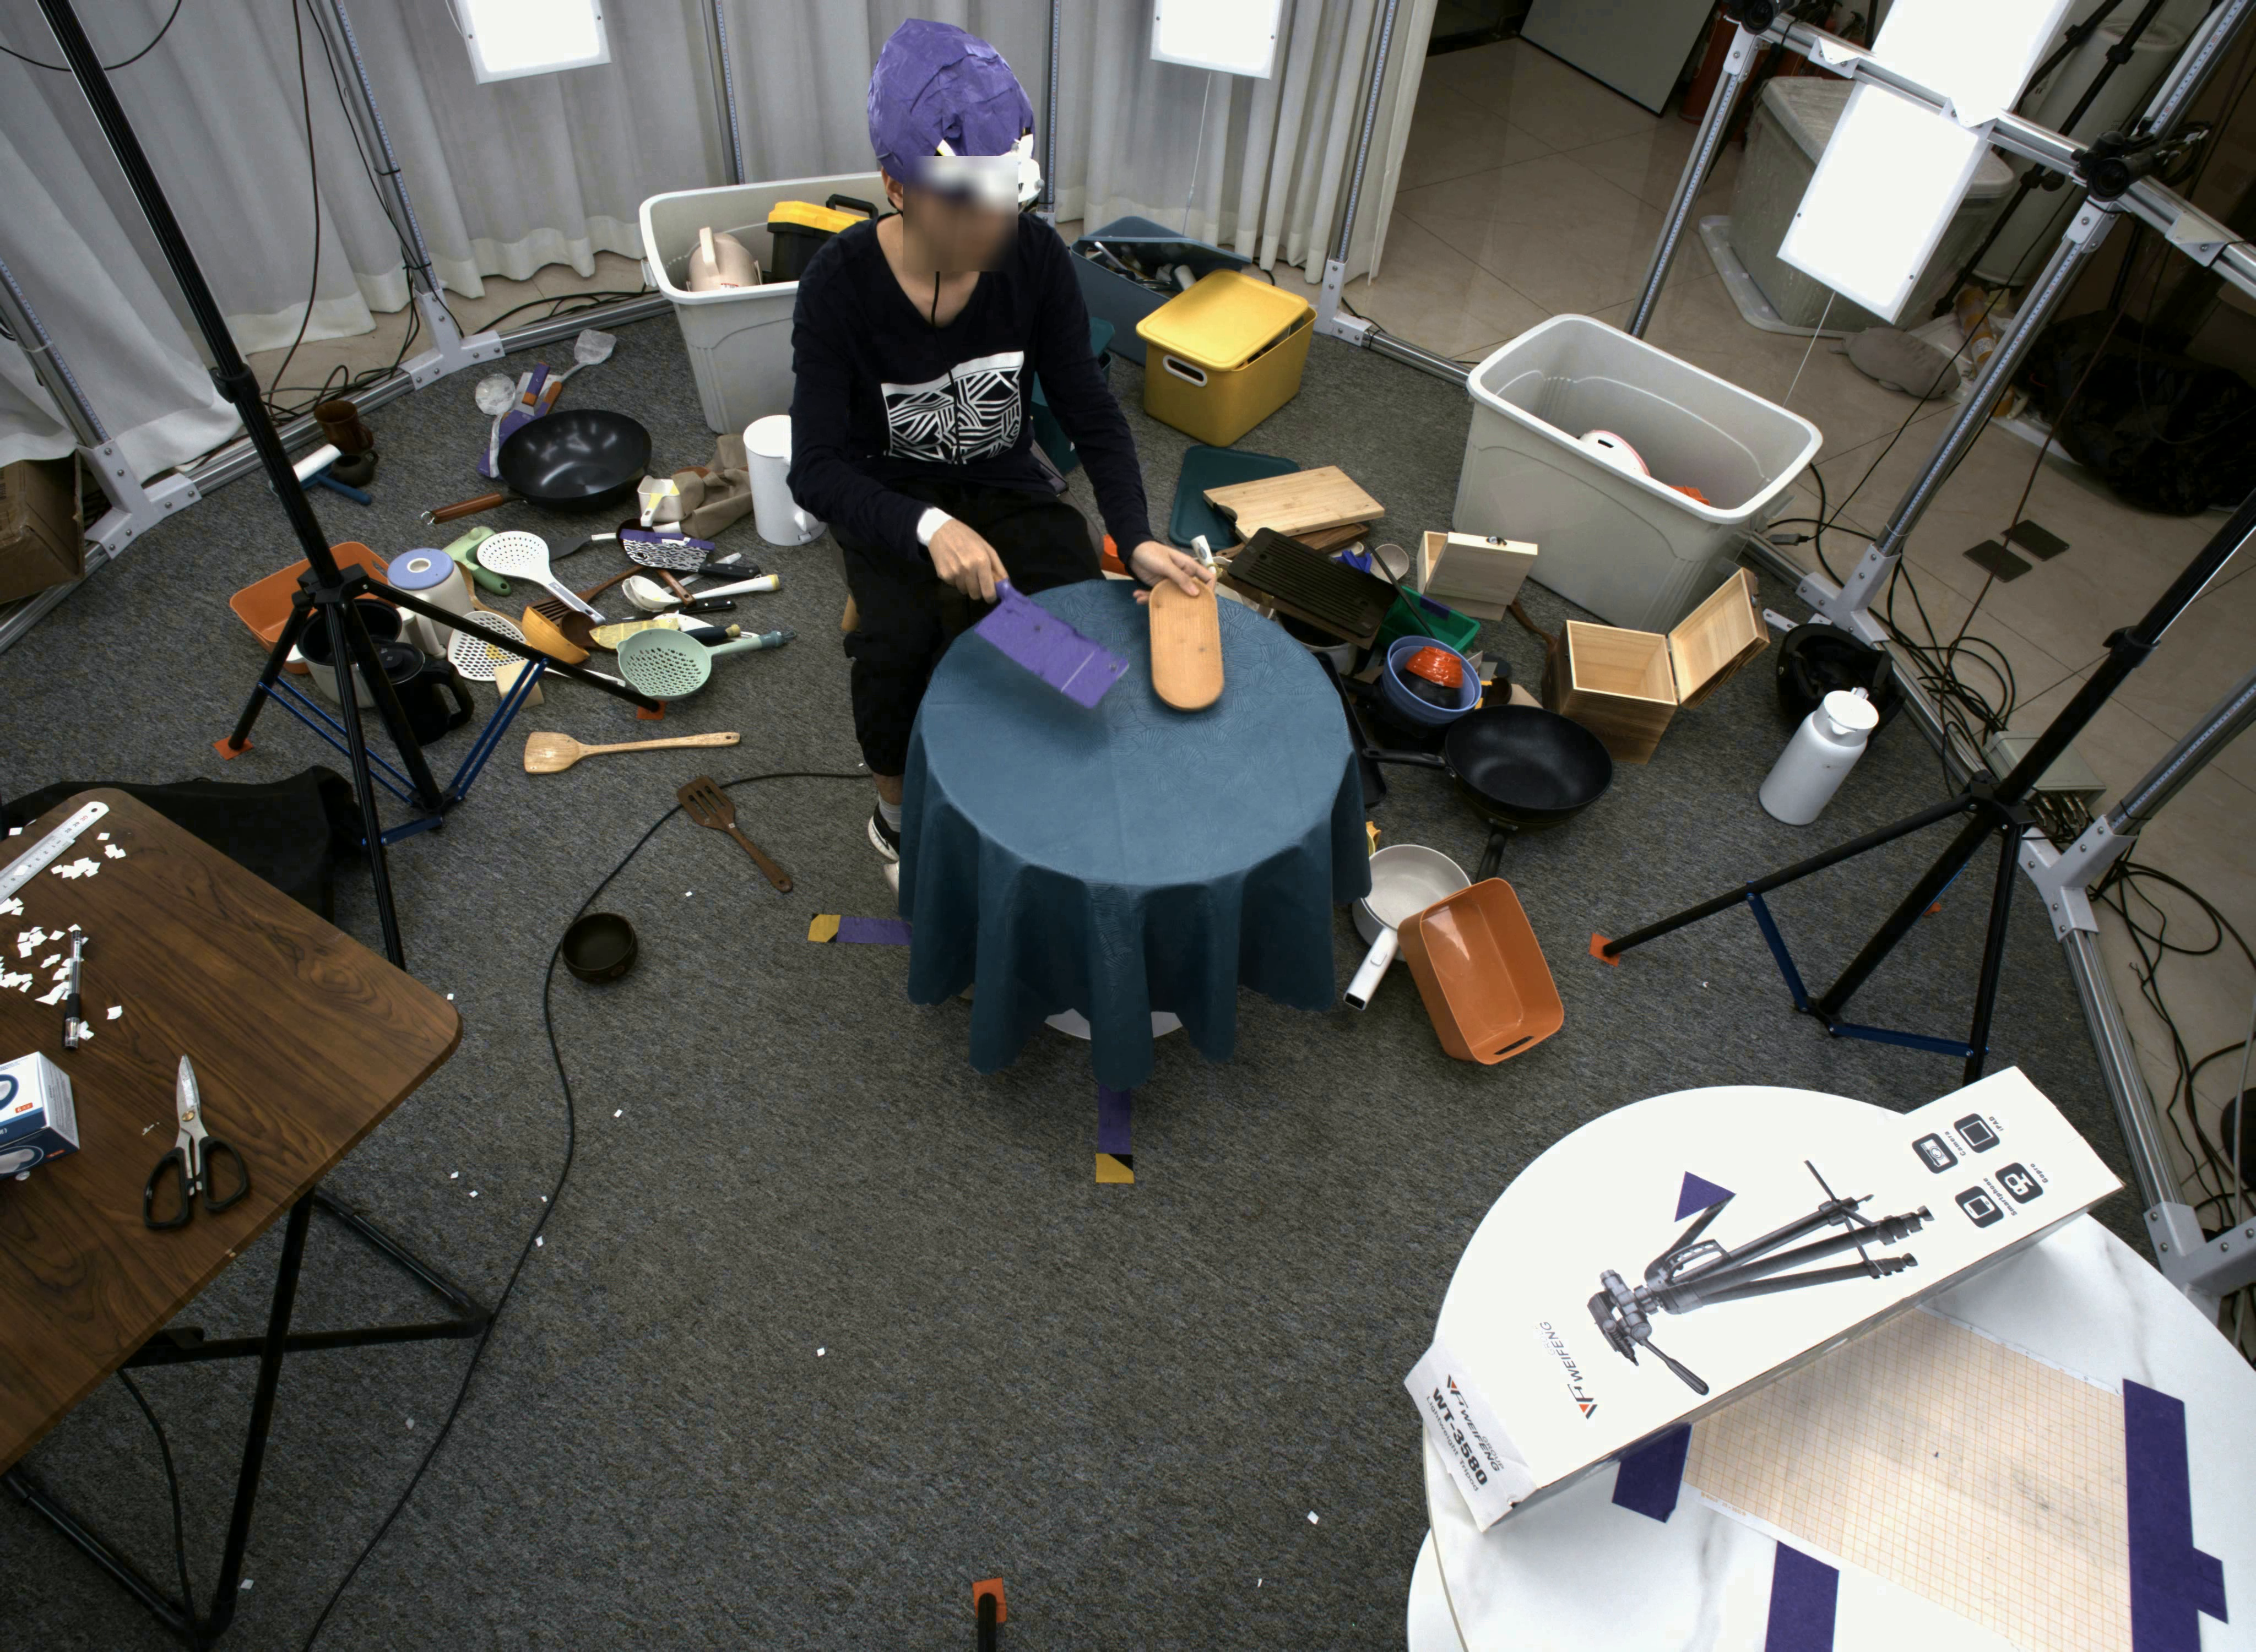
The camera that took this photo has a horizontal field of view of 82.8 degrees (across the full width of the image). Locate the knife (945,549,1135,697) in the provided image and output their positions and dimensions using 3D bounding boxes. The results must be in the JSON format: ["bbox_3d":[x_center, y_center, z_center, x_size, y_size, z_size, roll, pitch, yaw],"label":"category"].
[{"bbox_3d":[-0.144,-0.283,1.782,0.318,0.031,0.105,32,66,19],"label":"knife"}]

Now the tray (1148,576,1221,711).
[{"bbox_3d":[0.081,-0.265,1.853,0.101,0.020,0.236,0,62,-1],"label":"tray"}]
